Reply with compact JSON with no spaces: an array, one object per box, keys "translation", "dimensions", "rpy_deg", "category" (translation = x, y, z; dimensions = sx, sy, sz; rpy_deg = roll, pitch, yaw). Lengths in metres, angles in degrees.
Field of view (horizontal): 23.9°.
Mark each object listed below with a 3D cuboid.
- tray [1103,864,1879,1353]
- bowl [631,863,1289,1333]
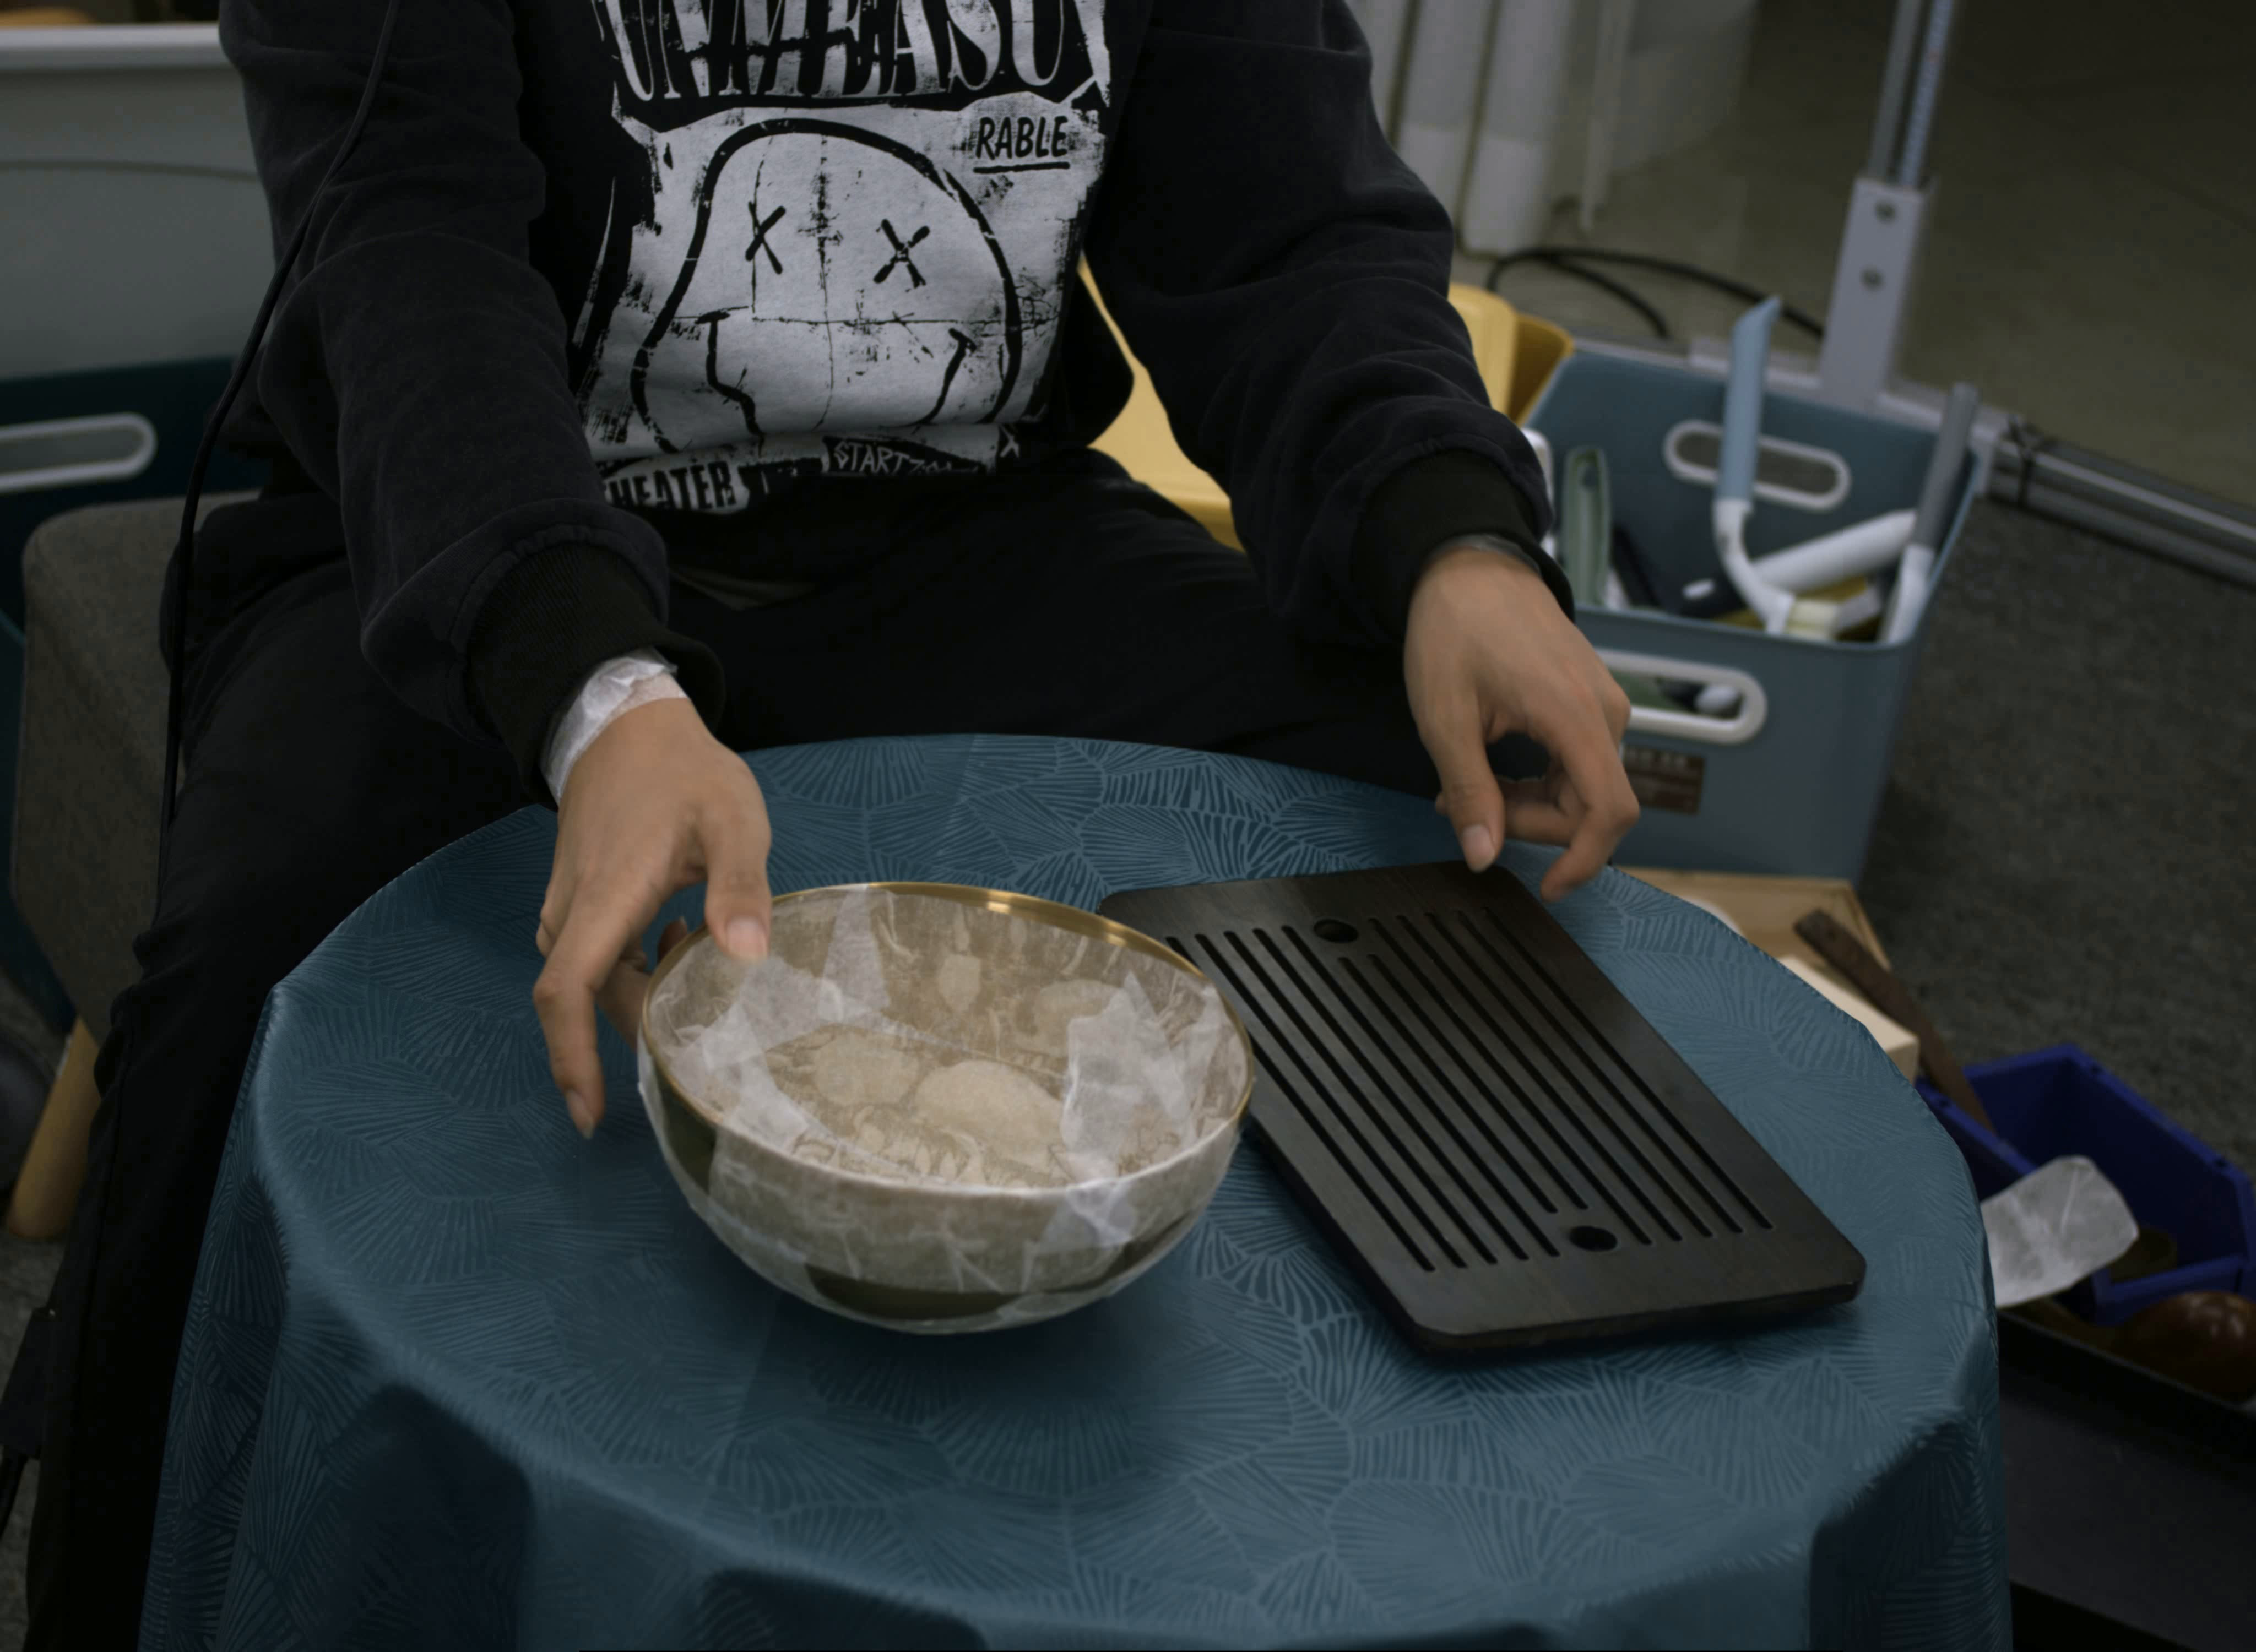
[{"translation":[0.120,0.096,1.863],"dimensions":[0.169,0.018,0.308],"rpy_deg":[-5,29,-22],"category":"tray"},{"translation":[-0.060,0.101,1.728],"dimensions":[0.214,0.094,0.216],"rpy_deg":[5,27,-3],"category":"bowl"}]
